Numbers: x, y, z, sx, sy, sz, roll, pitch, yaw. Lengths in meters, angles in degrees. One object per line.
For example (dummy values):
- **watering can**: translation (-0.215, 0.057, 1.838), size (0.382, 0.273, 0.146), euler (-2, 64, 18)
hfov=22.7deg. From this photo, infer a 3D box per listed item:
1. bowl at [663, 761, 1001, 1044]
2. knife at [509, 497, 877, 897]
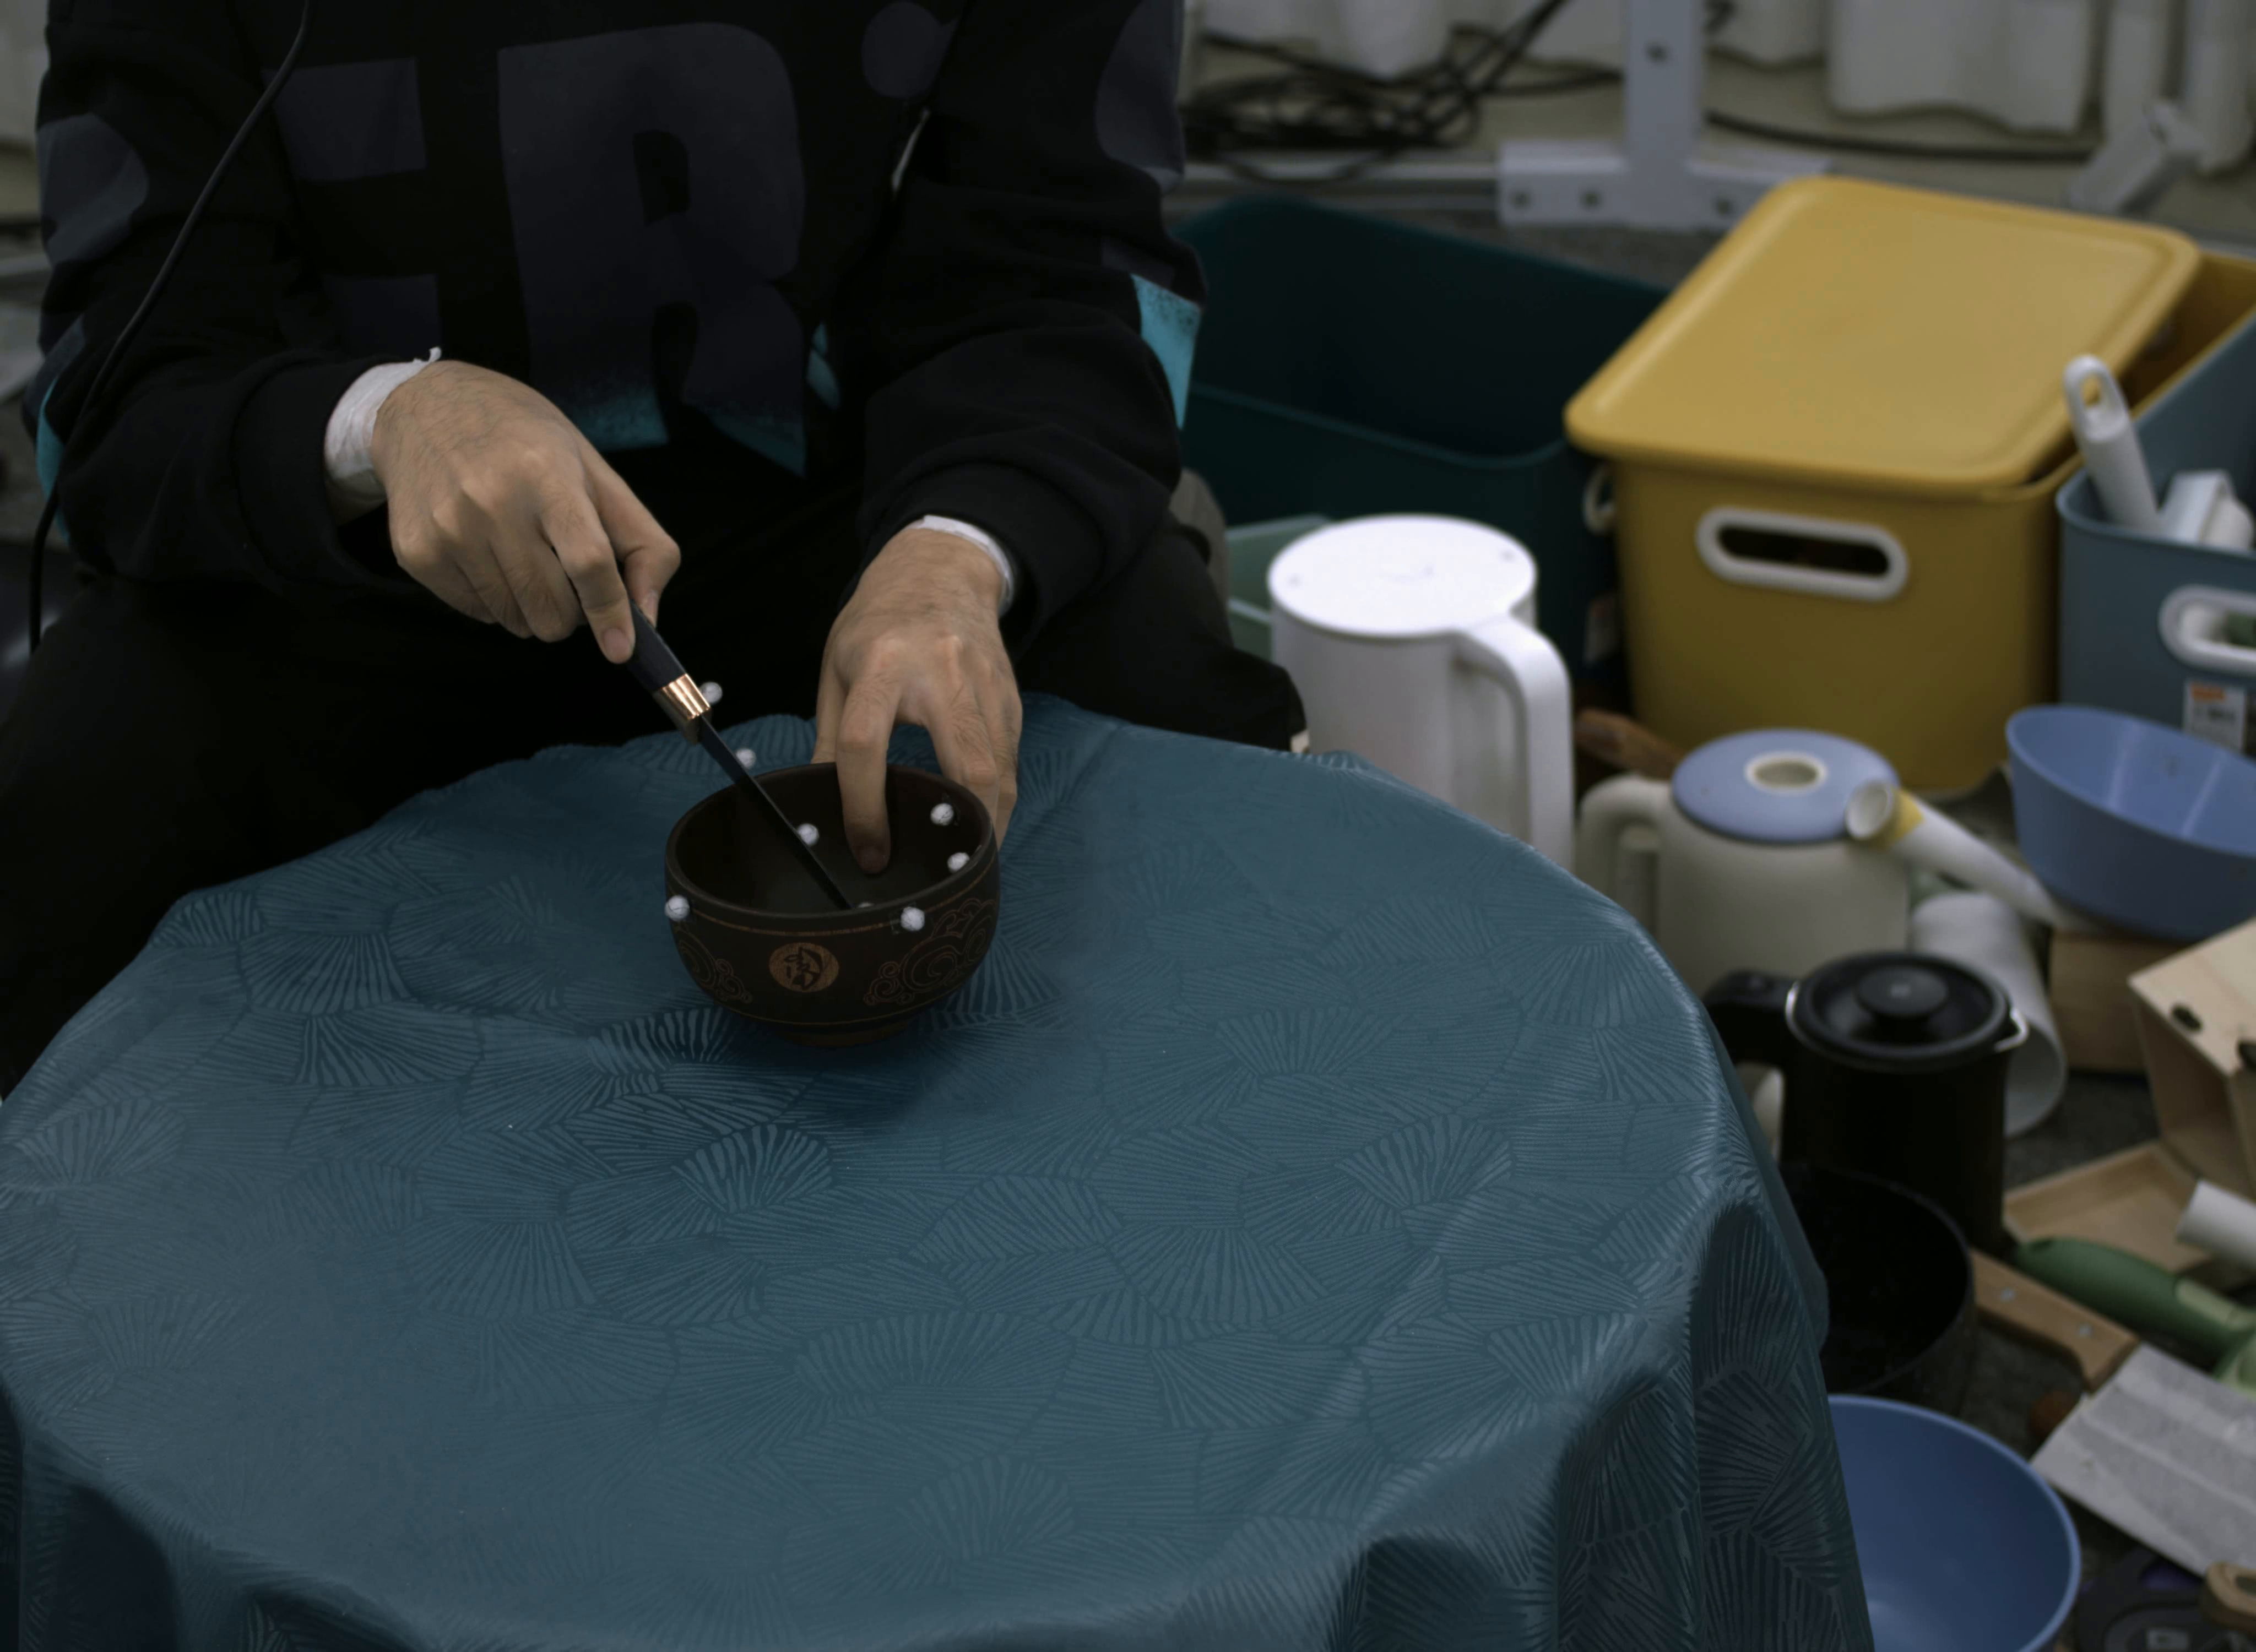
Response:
- **bowl**: translation (-0.102, 0.033, 1.963), size (0.117, 0.069, 0.120), euler (-1, 25, 1)
- **knife**: translation (-0.146, -0.034, 1.987), size (0.227, 0.017, 0.026), euler (49, 26, 16)
